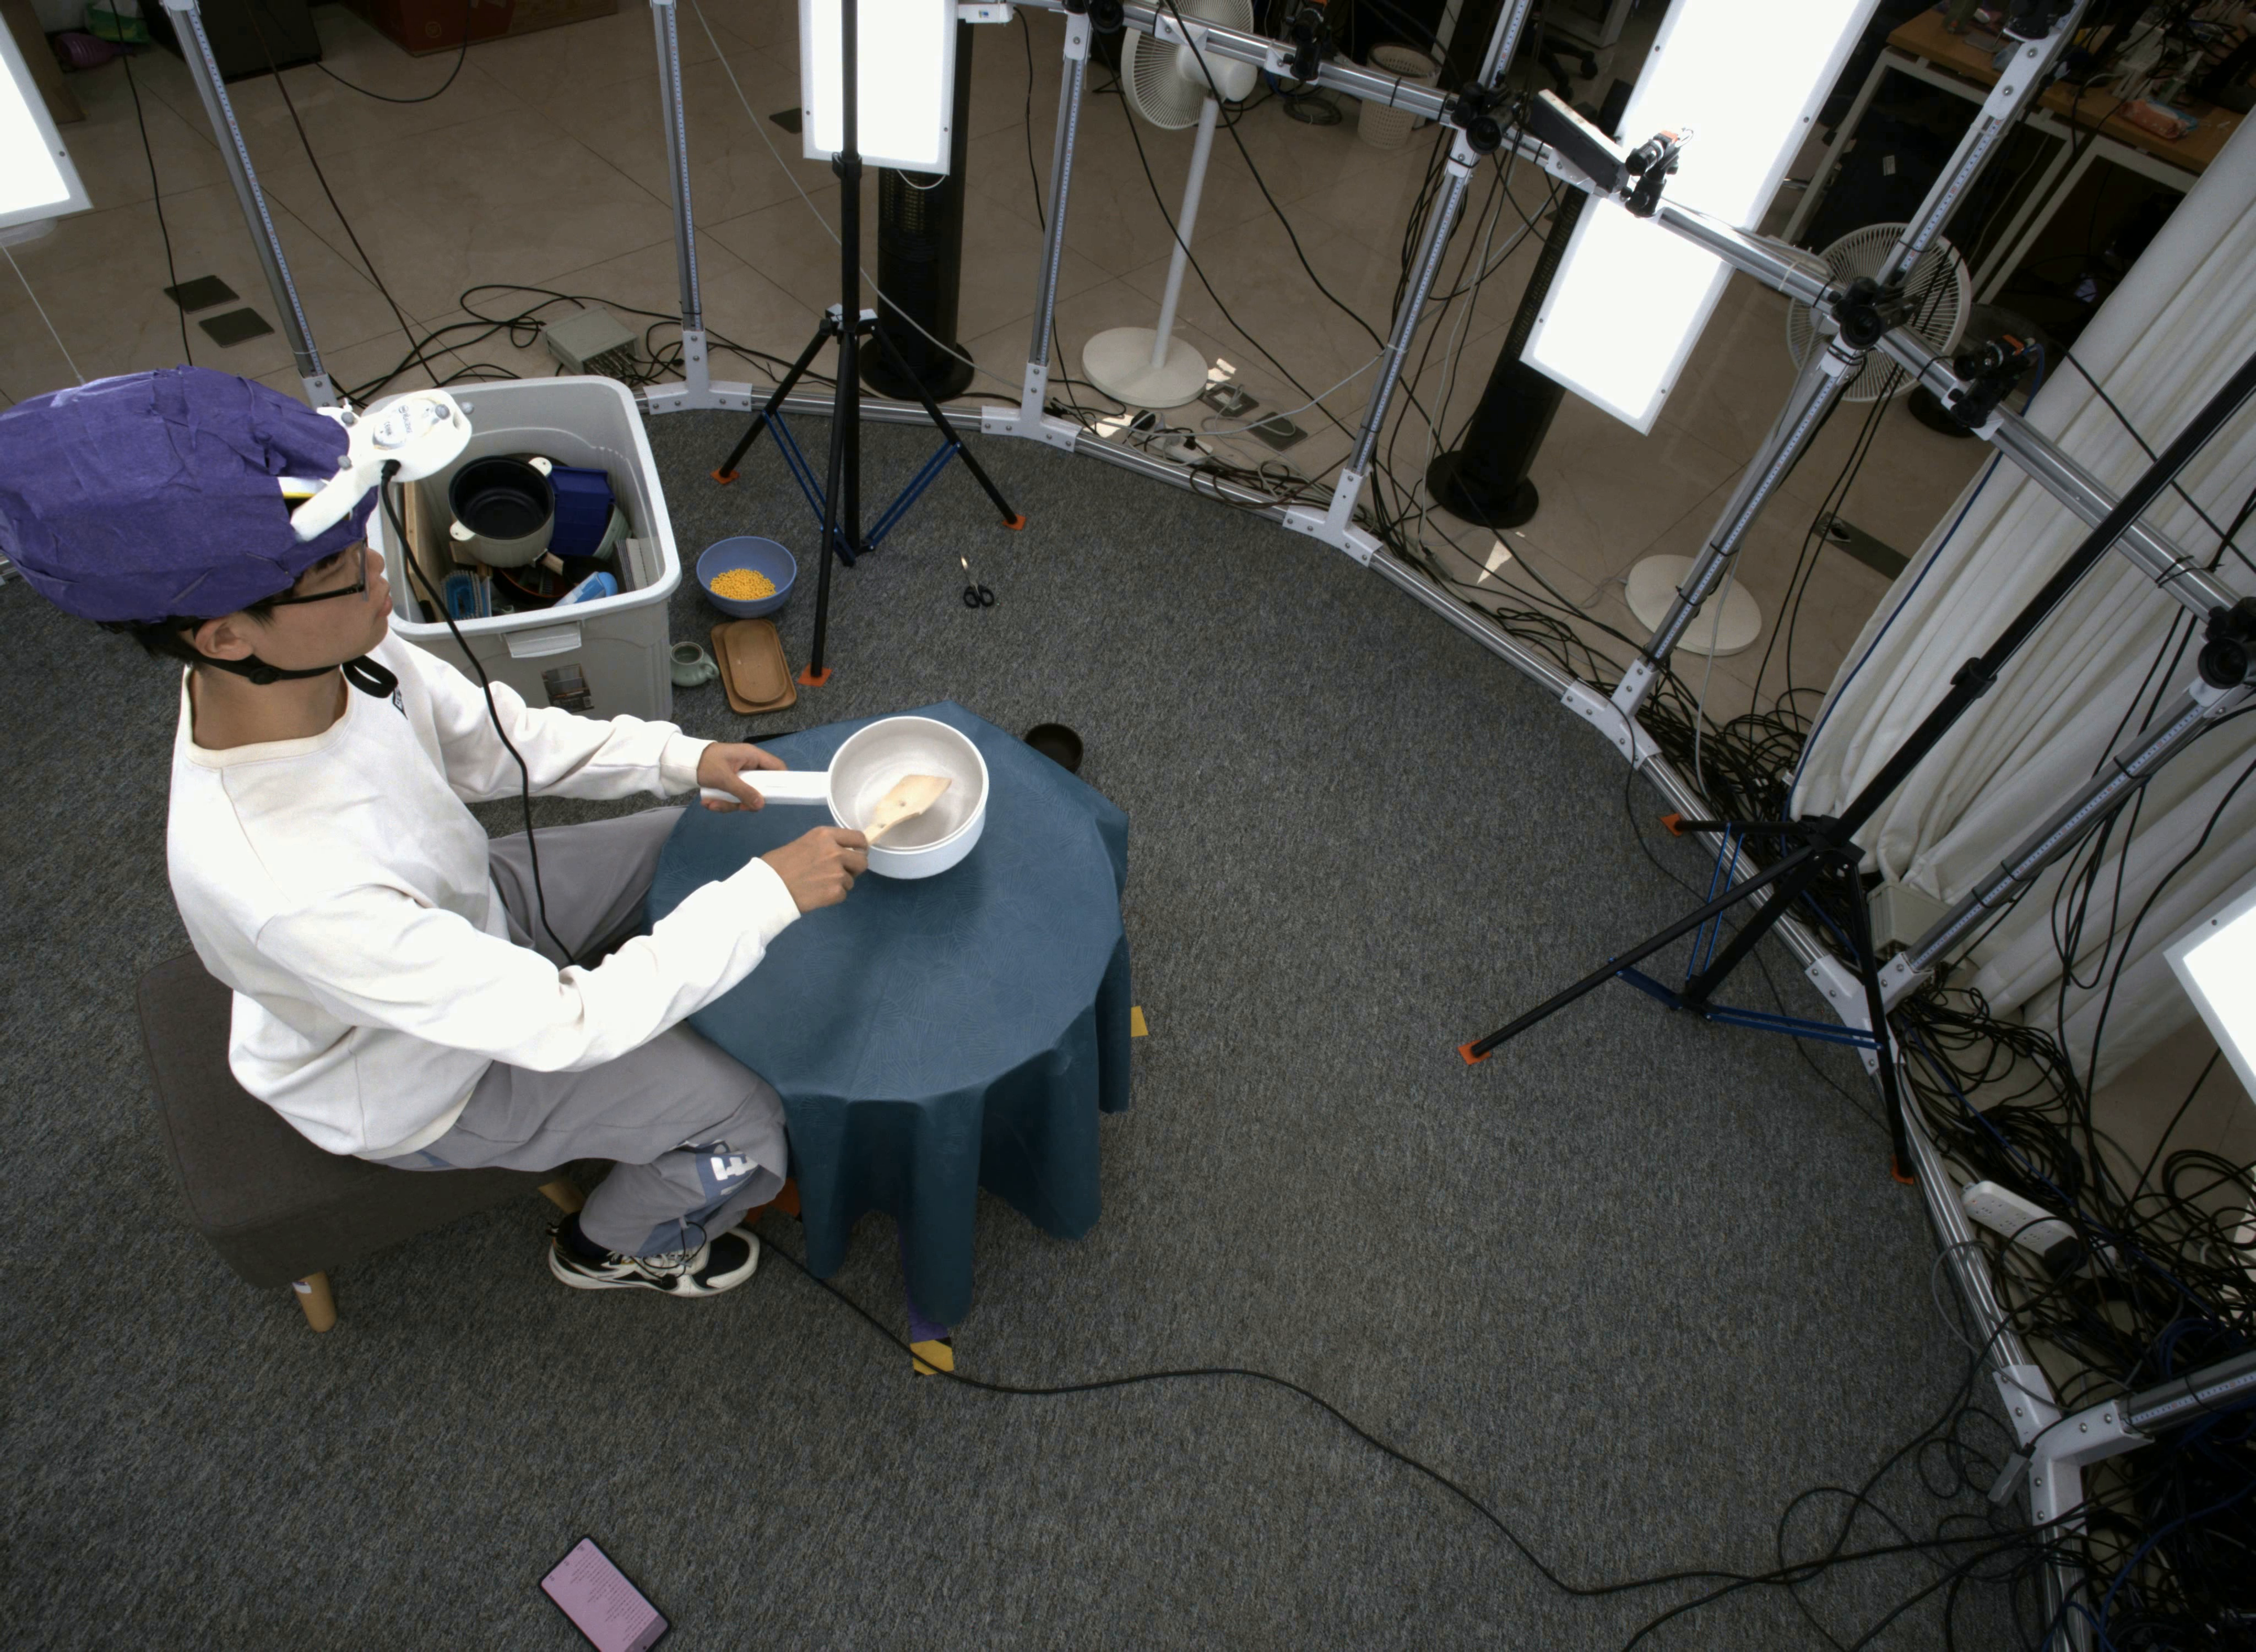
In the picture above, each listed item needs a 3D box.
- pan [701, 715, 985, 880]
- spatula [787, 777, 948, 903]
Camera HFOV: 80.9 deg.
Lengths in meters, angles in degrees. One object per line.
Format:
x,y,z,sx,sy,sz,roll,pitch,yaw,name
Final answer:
-0.358,-0.033,1.662,0.353,0.104,0.198,1,62,-7,pan
-0.312,0.012,1.548,0.070,0.011,0.292,6,31,23,spatula
